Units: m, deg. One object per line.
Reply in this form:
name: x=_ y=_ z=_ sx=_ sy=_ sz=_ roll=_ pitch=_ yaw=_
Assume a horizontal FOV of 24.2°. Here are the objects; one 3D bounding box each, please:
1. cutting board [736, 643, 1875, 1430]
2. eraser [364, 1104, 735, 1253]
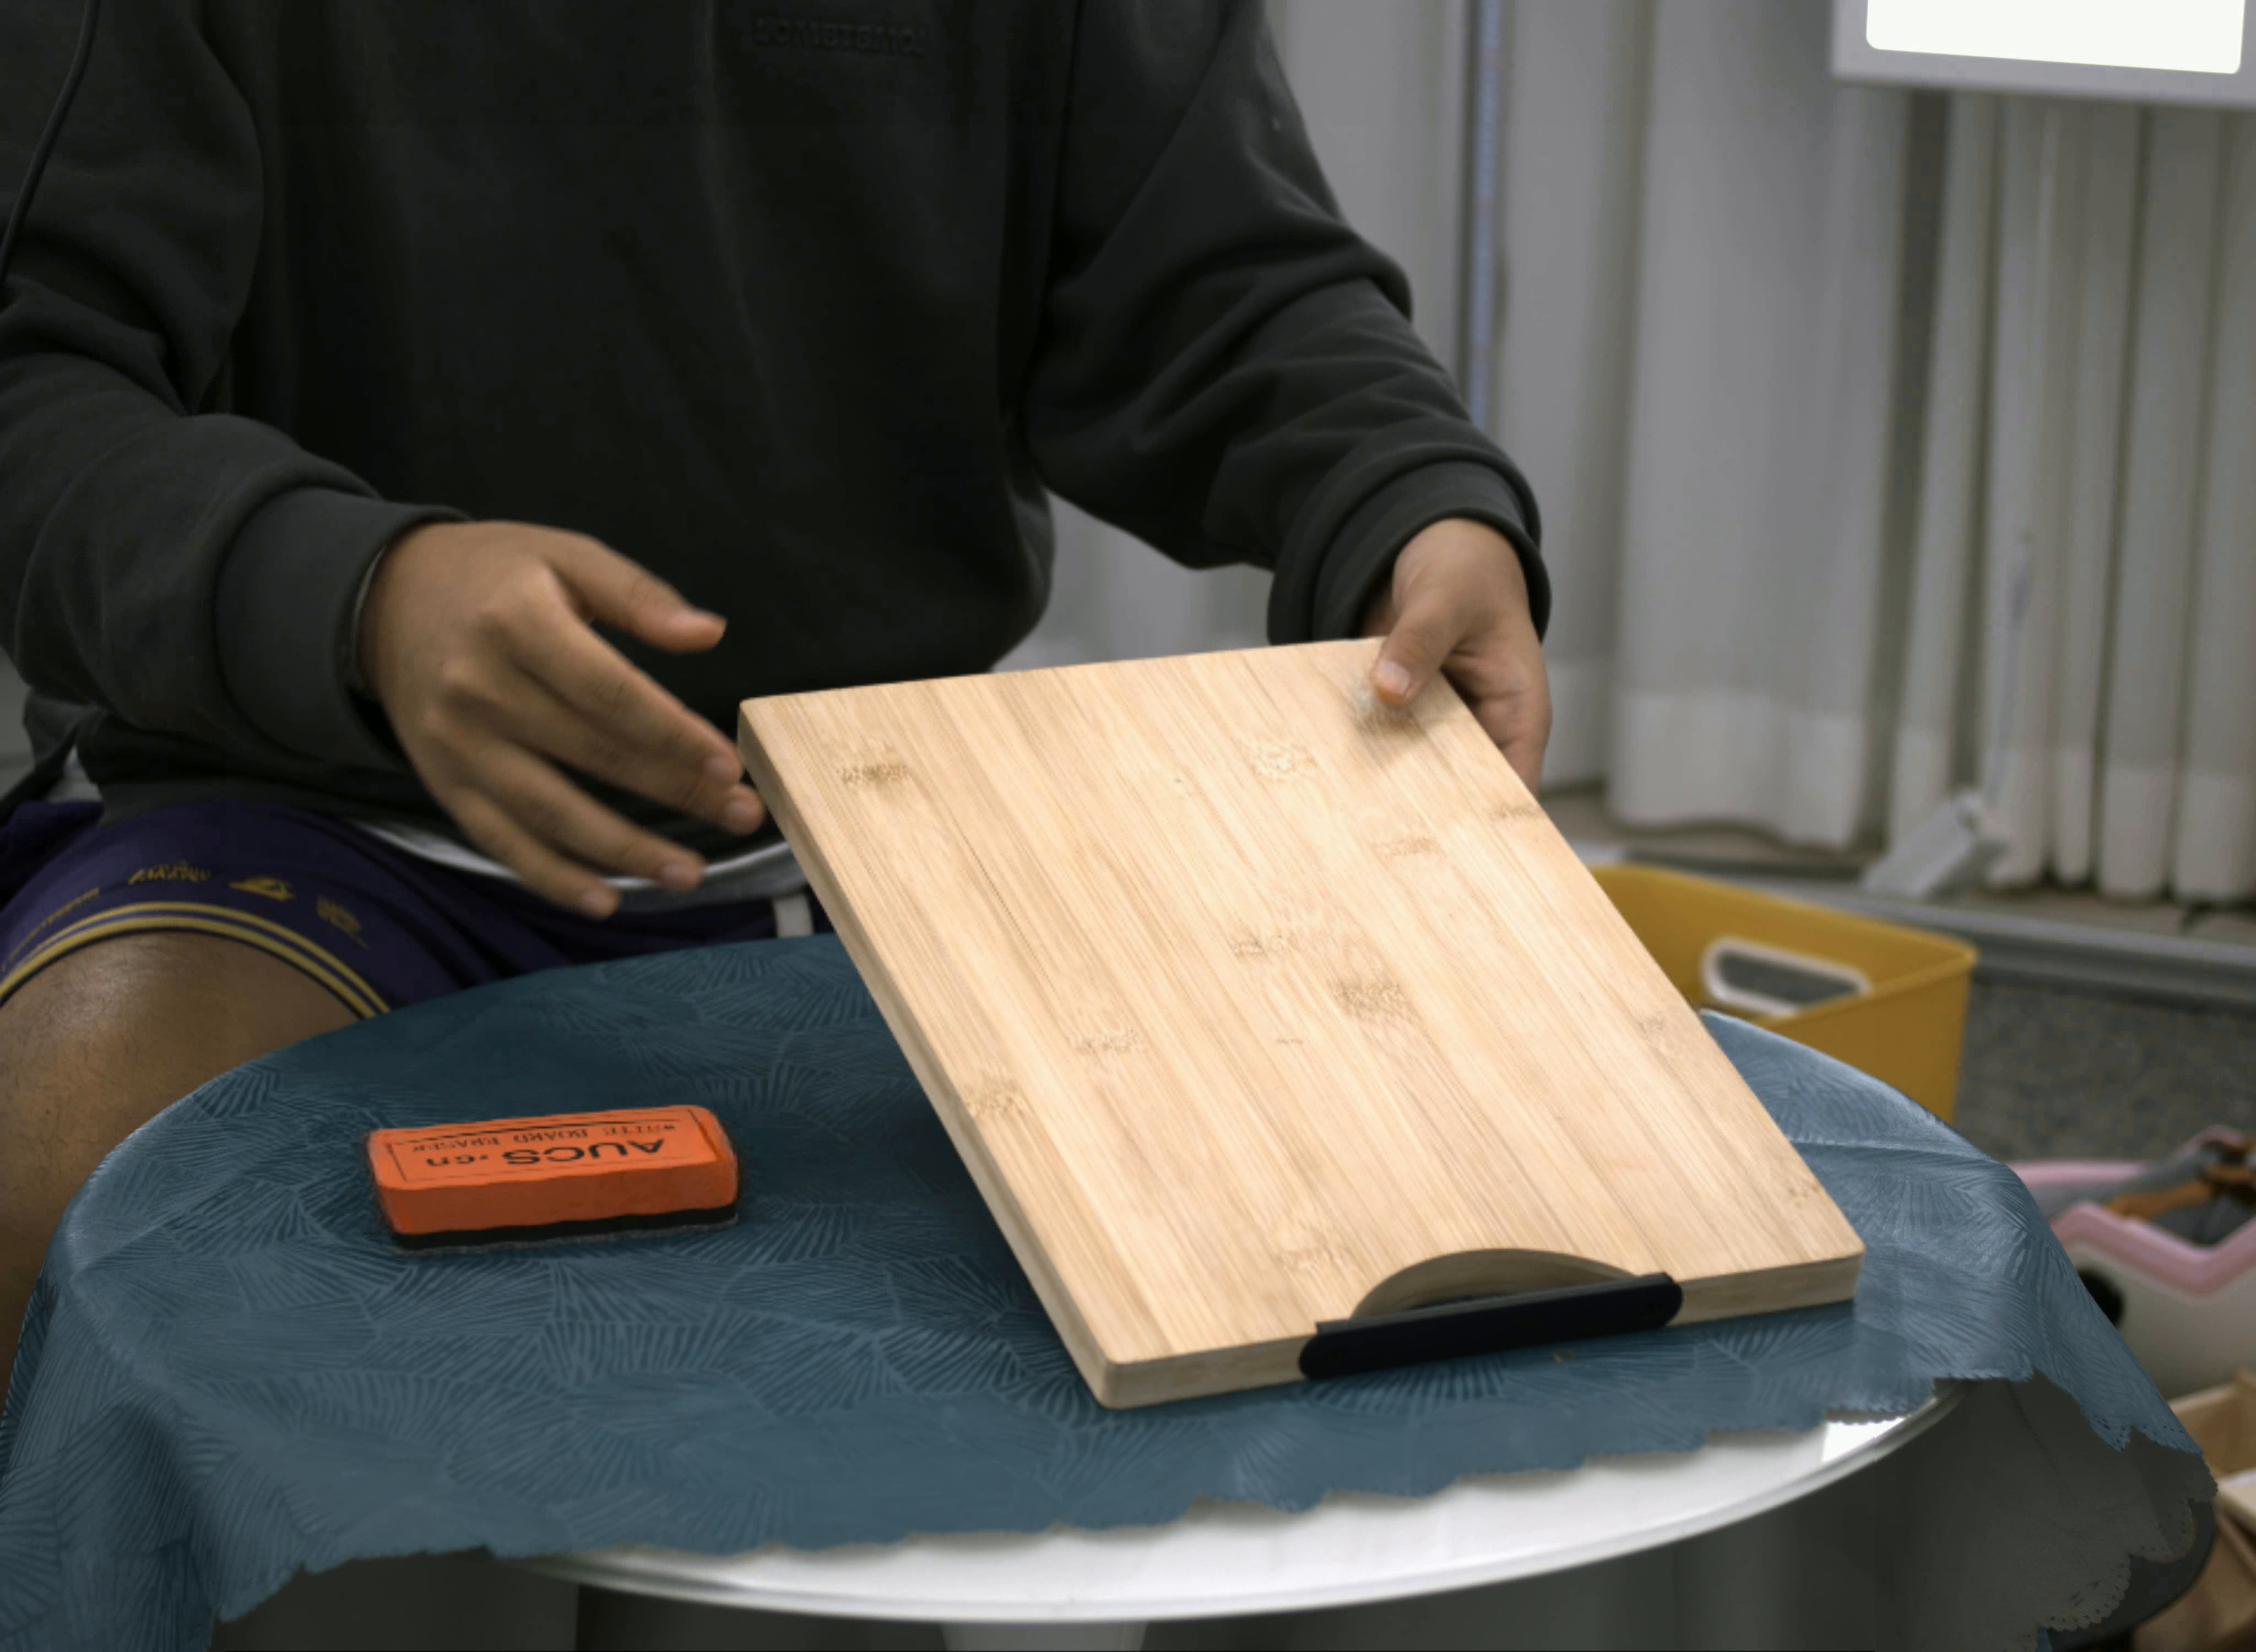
cutting board: x=0.045 y=0.051 z=1.607 sx=0.251 sy=0.024 sz=0.344 roll=-7 pitch=37 yaw=-23
eraser: x=-0.175 y=0.106 z=1.592 sx=0.108 sy=0.023 sz=0.058 roll=-3 pitch=17 yaw=-15
